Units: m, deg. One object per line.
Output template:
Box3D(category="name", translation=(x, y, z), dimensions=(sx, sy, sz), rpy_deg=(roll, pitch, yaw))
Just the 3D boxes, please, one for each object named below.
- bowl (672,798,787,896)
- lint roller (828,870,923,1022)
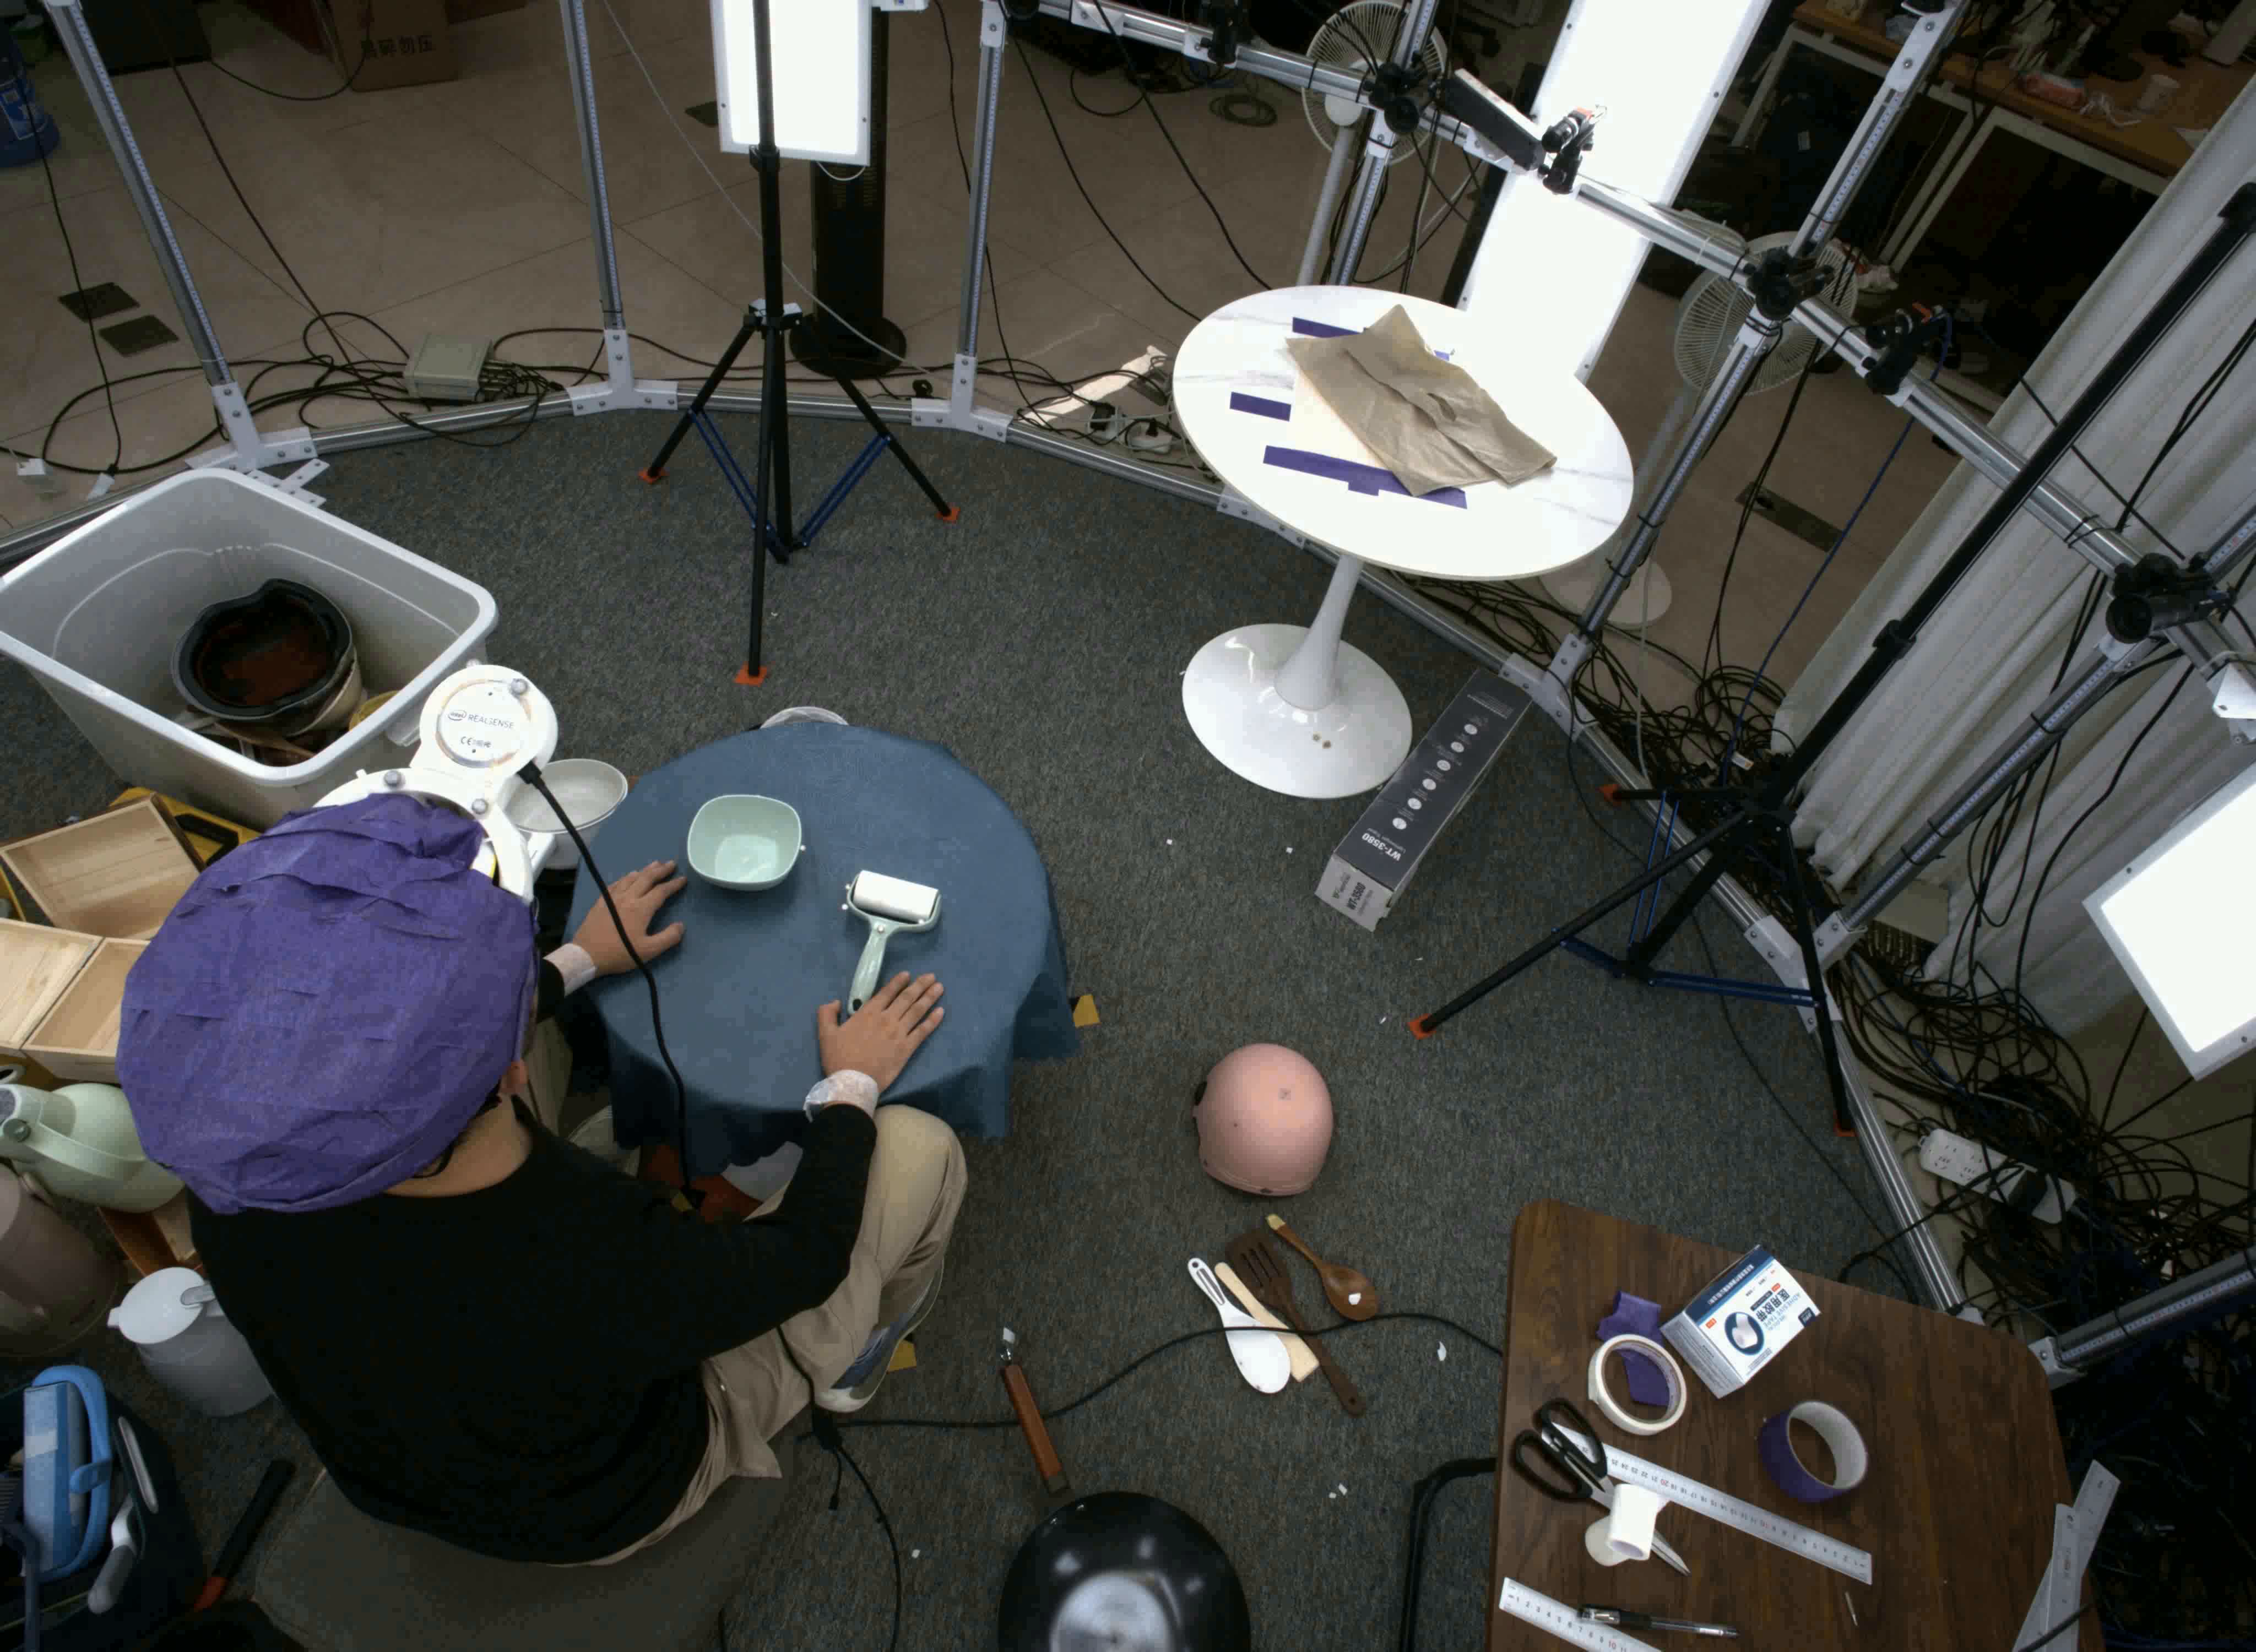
Box3D(category="bowl", translation=(-0.502, 0.034, 1.636), dimensions=(0.151, 0.060, 0.148), rpy_deg=(9, 51, -9))
Box3D(category="lint roller", translation=(-0.329, 0.145, 1.607), dimensions=(0.116, 0.049, 0.195), rpy_deg=(15, 53, -5))
